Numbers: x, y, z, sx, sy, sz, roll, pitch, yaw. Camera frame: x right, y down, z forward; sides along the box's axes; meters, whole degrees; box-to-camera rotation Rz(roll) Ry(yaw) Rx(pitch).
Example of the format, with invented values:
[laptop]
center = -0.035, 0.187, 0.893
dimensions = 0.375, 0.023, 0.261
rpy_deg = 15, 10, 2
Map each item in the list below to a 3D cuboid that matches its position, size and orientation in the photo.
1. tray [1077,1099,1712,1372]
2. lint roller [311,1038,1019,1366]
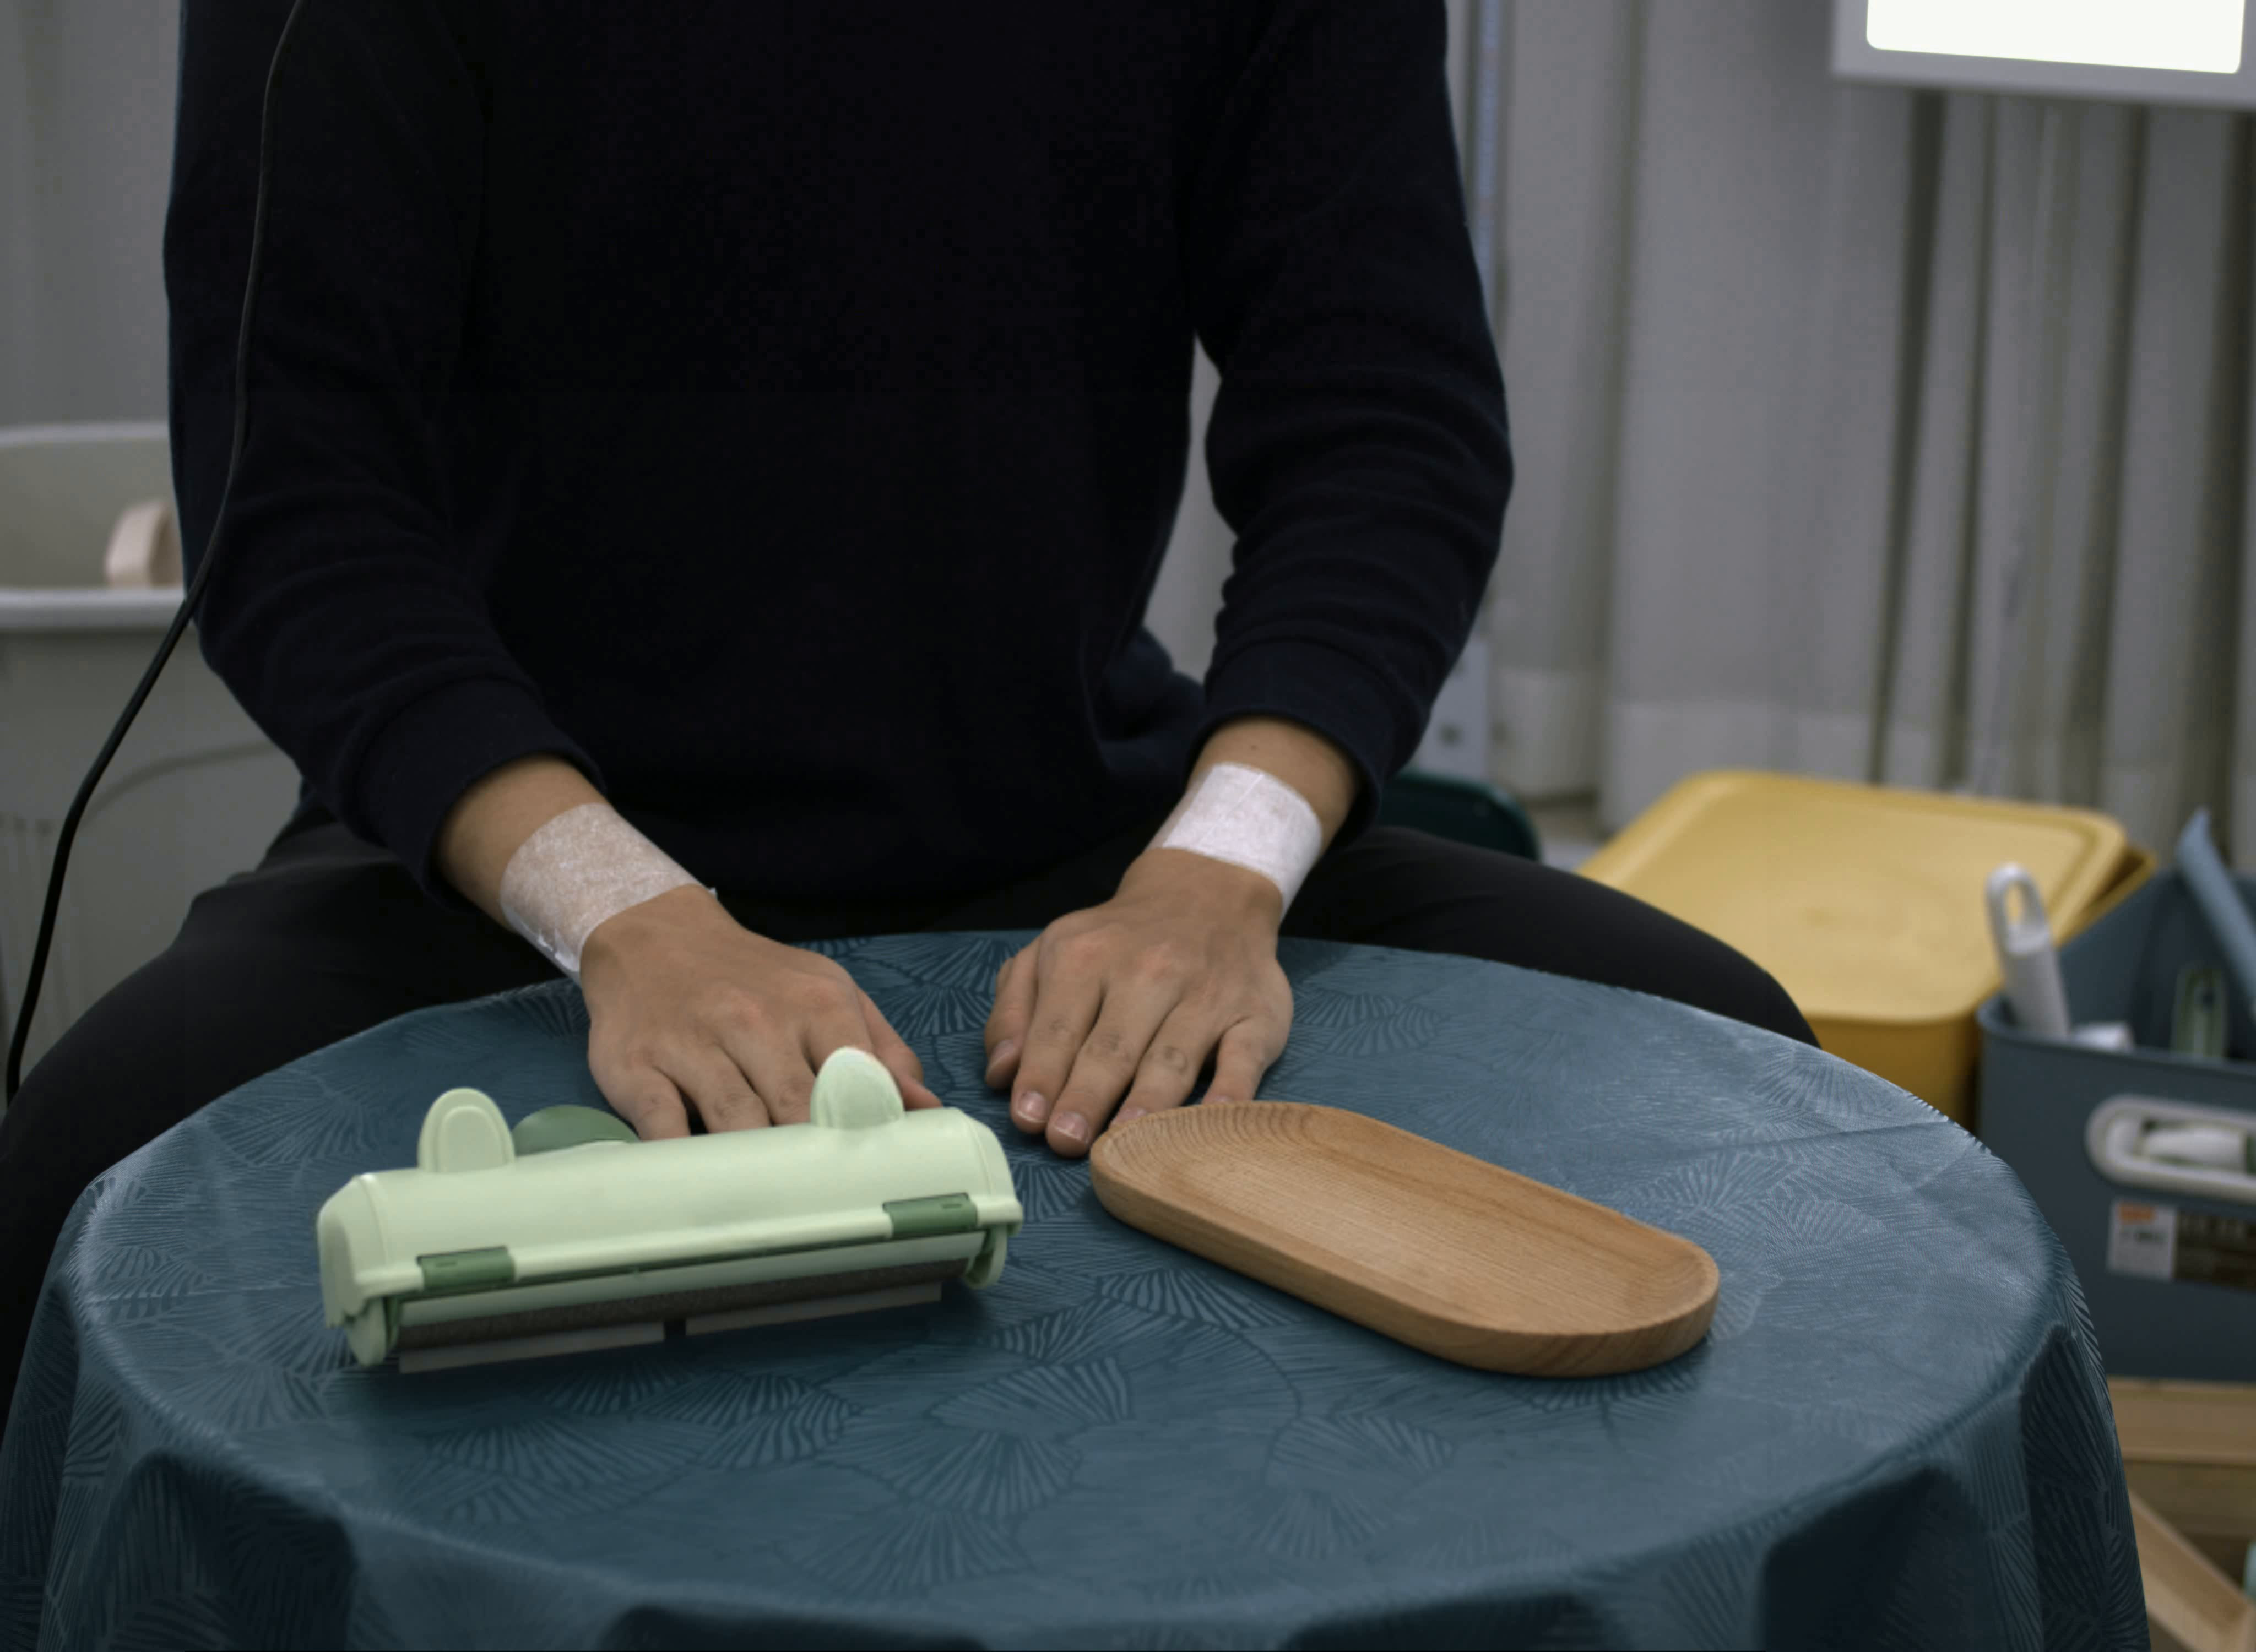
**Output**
[tray]
center = 0.076, 0.120, 1.567
dimensions = 0.102, 0.020, 0.228
rpy_deg = -12, 18, -38
[lint roller]
center = -0.151, 0.089, 1.539
dimensions = 0.199, 0.083, 0.181
rpy_deg = -5, 23, -22
